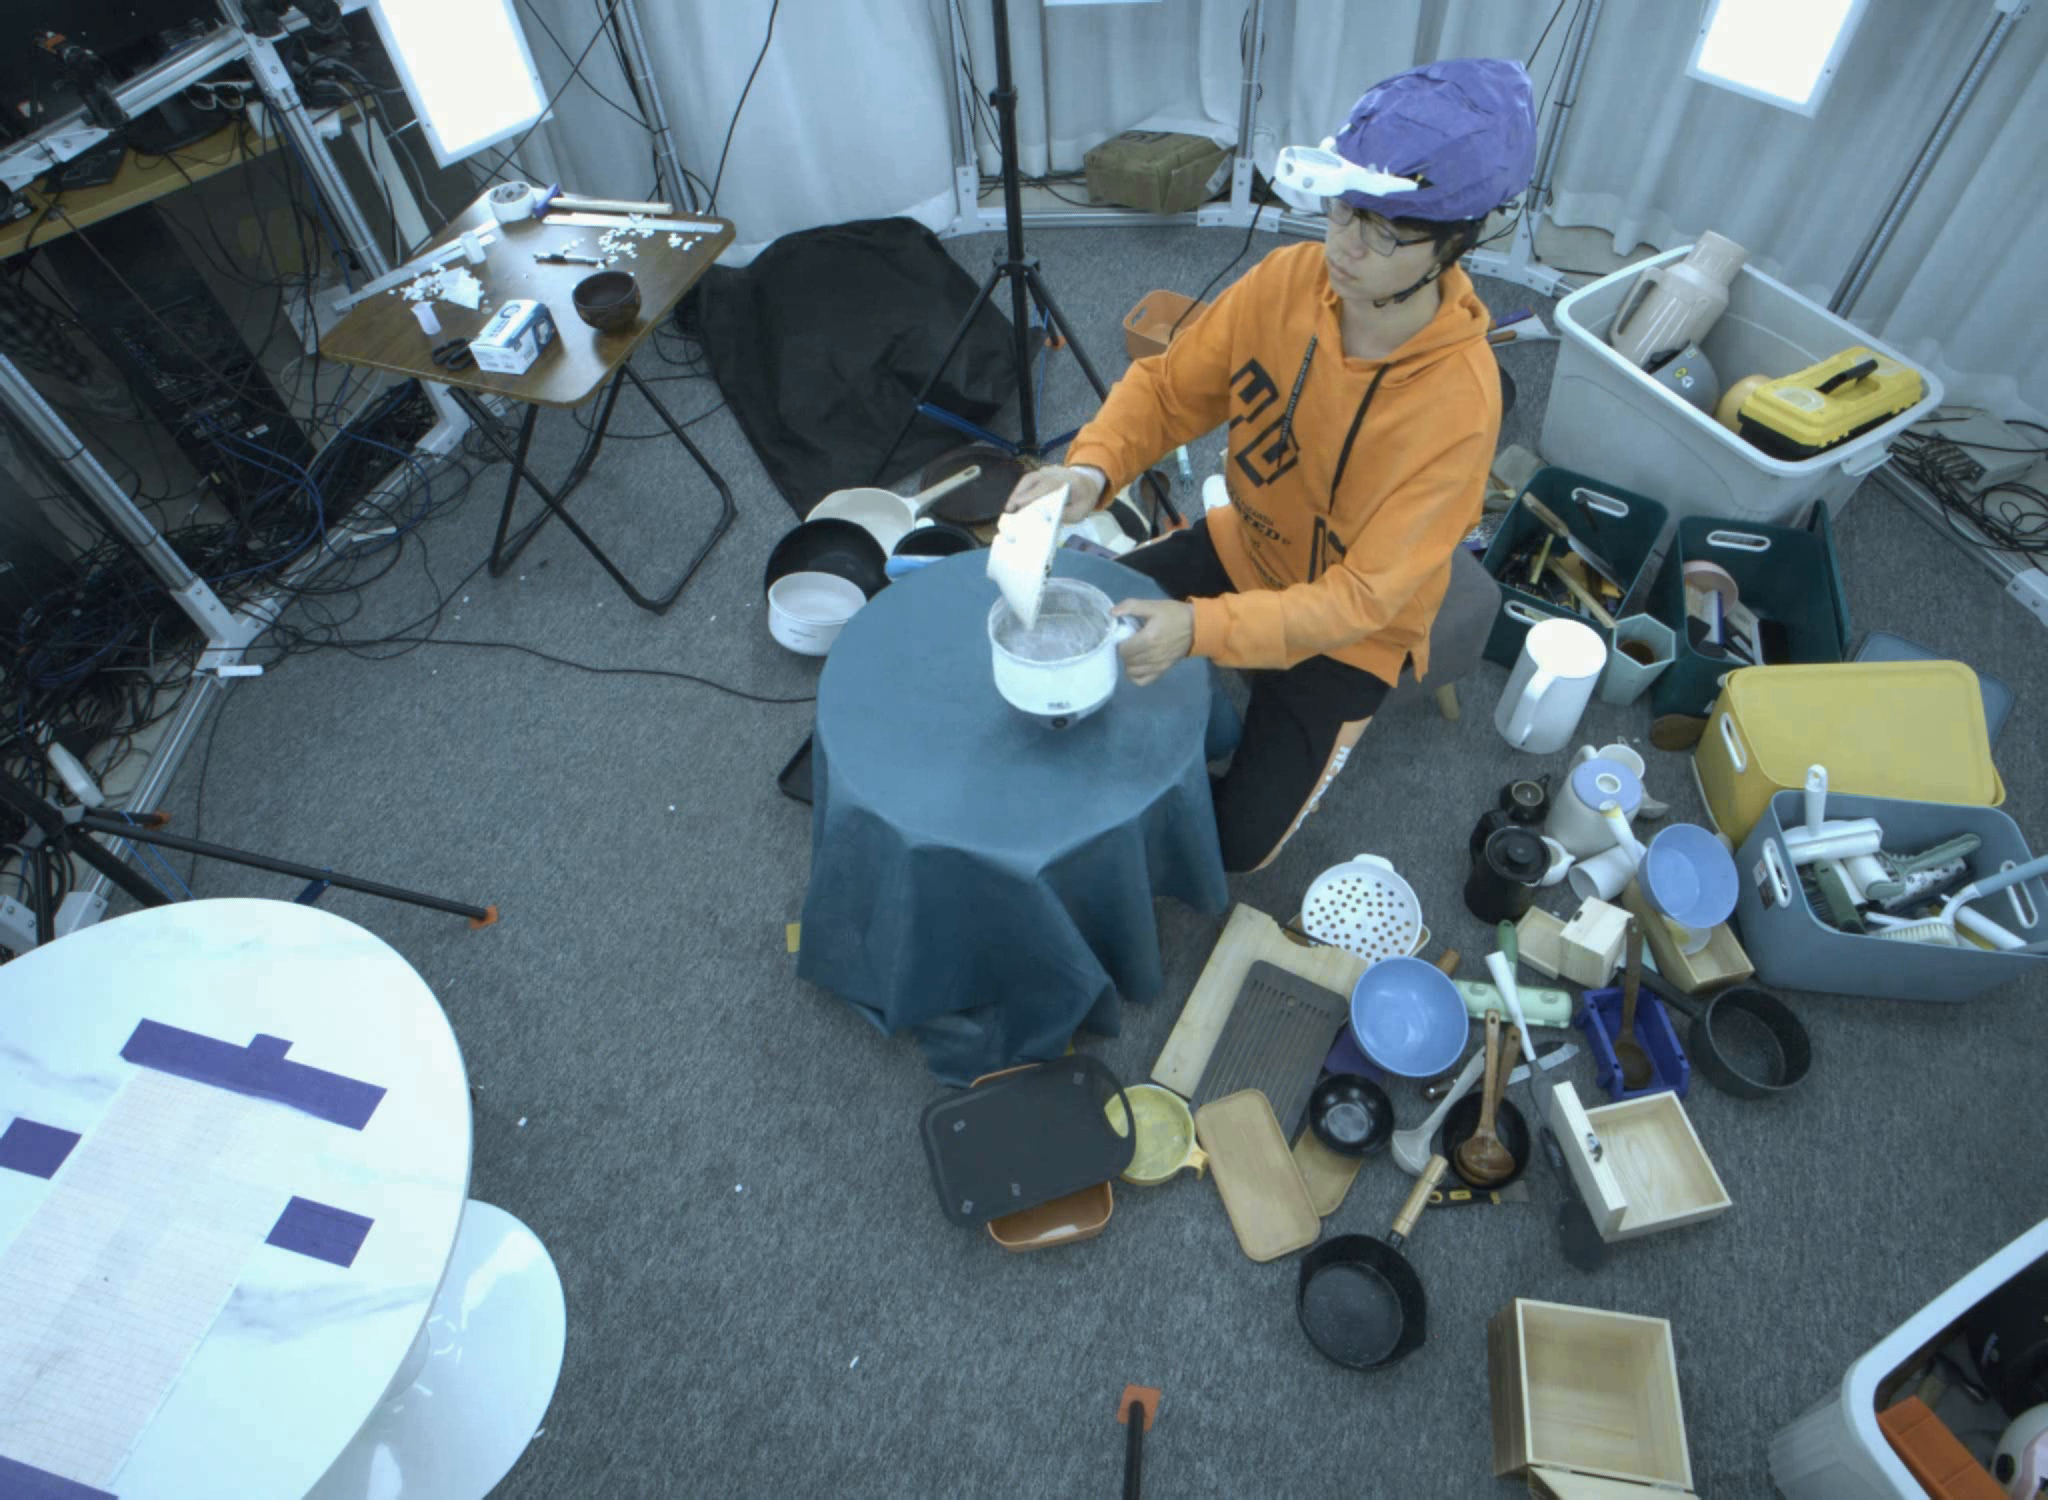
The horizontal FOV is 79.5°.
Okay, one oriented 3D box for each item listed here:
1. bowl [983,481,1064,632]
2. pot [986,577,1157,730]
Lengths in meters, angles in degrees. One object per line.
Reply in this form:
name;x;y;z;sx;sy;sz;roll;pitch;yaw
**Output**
bowl;-0.008;-0.263;1.616;0.078;0.205;0.203;13;56;0
pot;0.069;-0.138;1.724;0.234;0.138;0.176;-6;50;0
